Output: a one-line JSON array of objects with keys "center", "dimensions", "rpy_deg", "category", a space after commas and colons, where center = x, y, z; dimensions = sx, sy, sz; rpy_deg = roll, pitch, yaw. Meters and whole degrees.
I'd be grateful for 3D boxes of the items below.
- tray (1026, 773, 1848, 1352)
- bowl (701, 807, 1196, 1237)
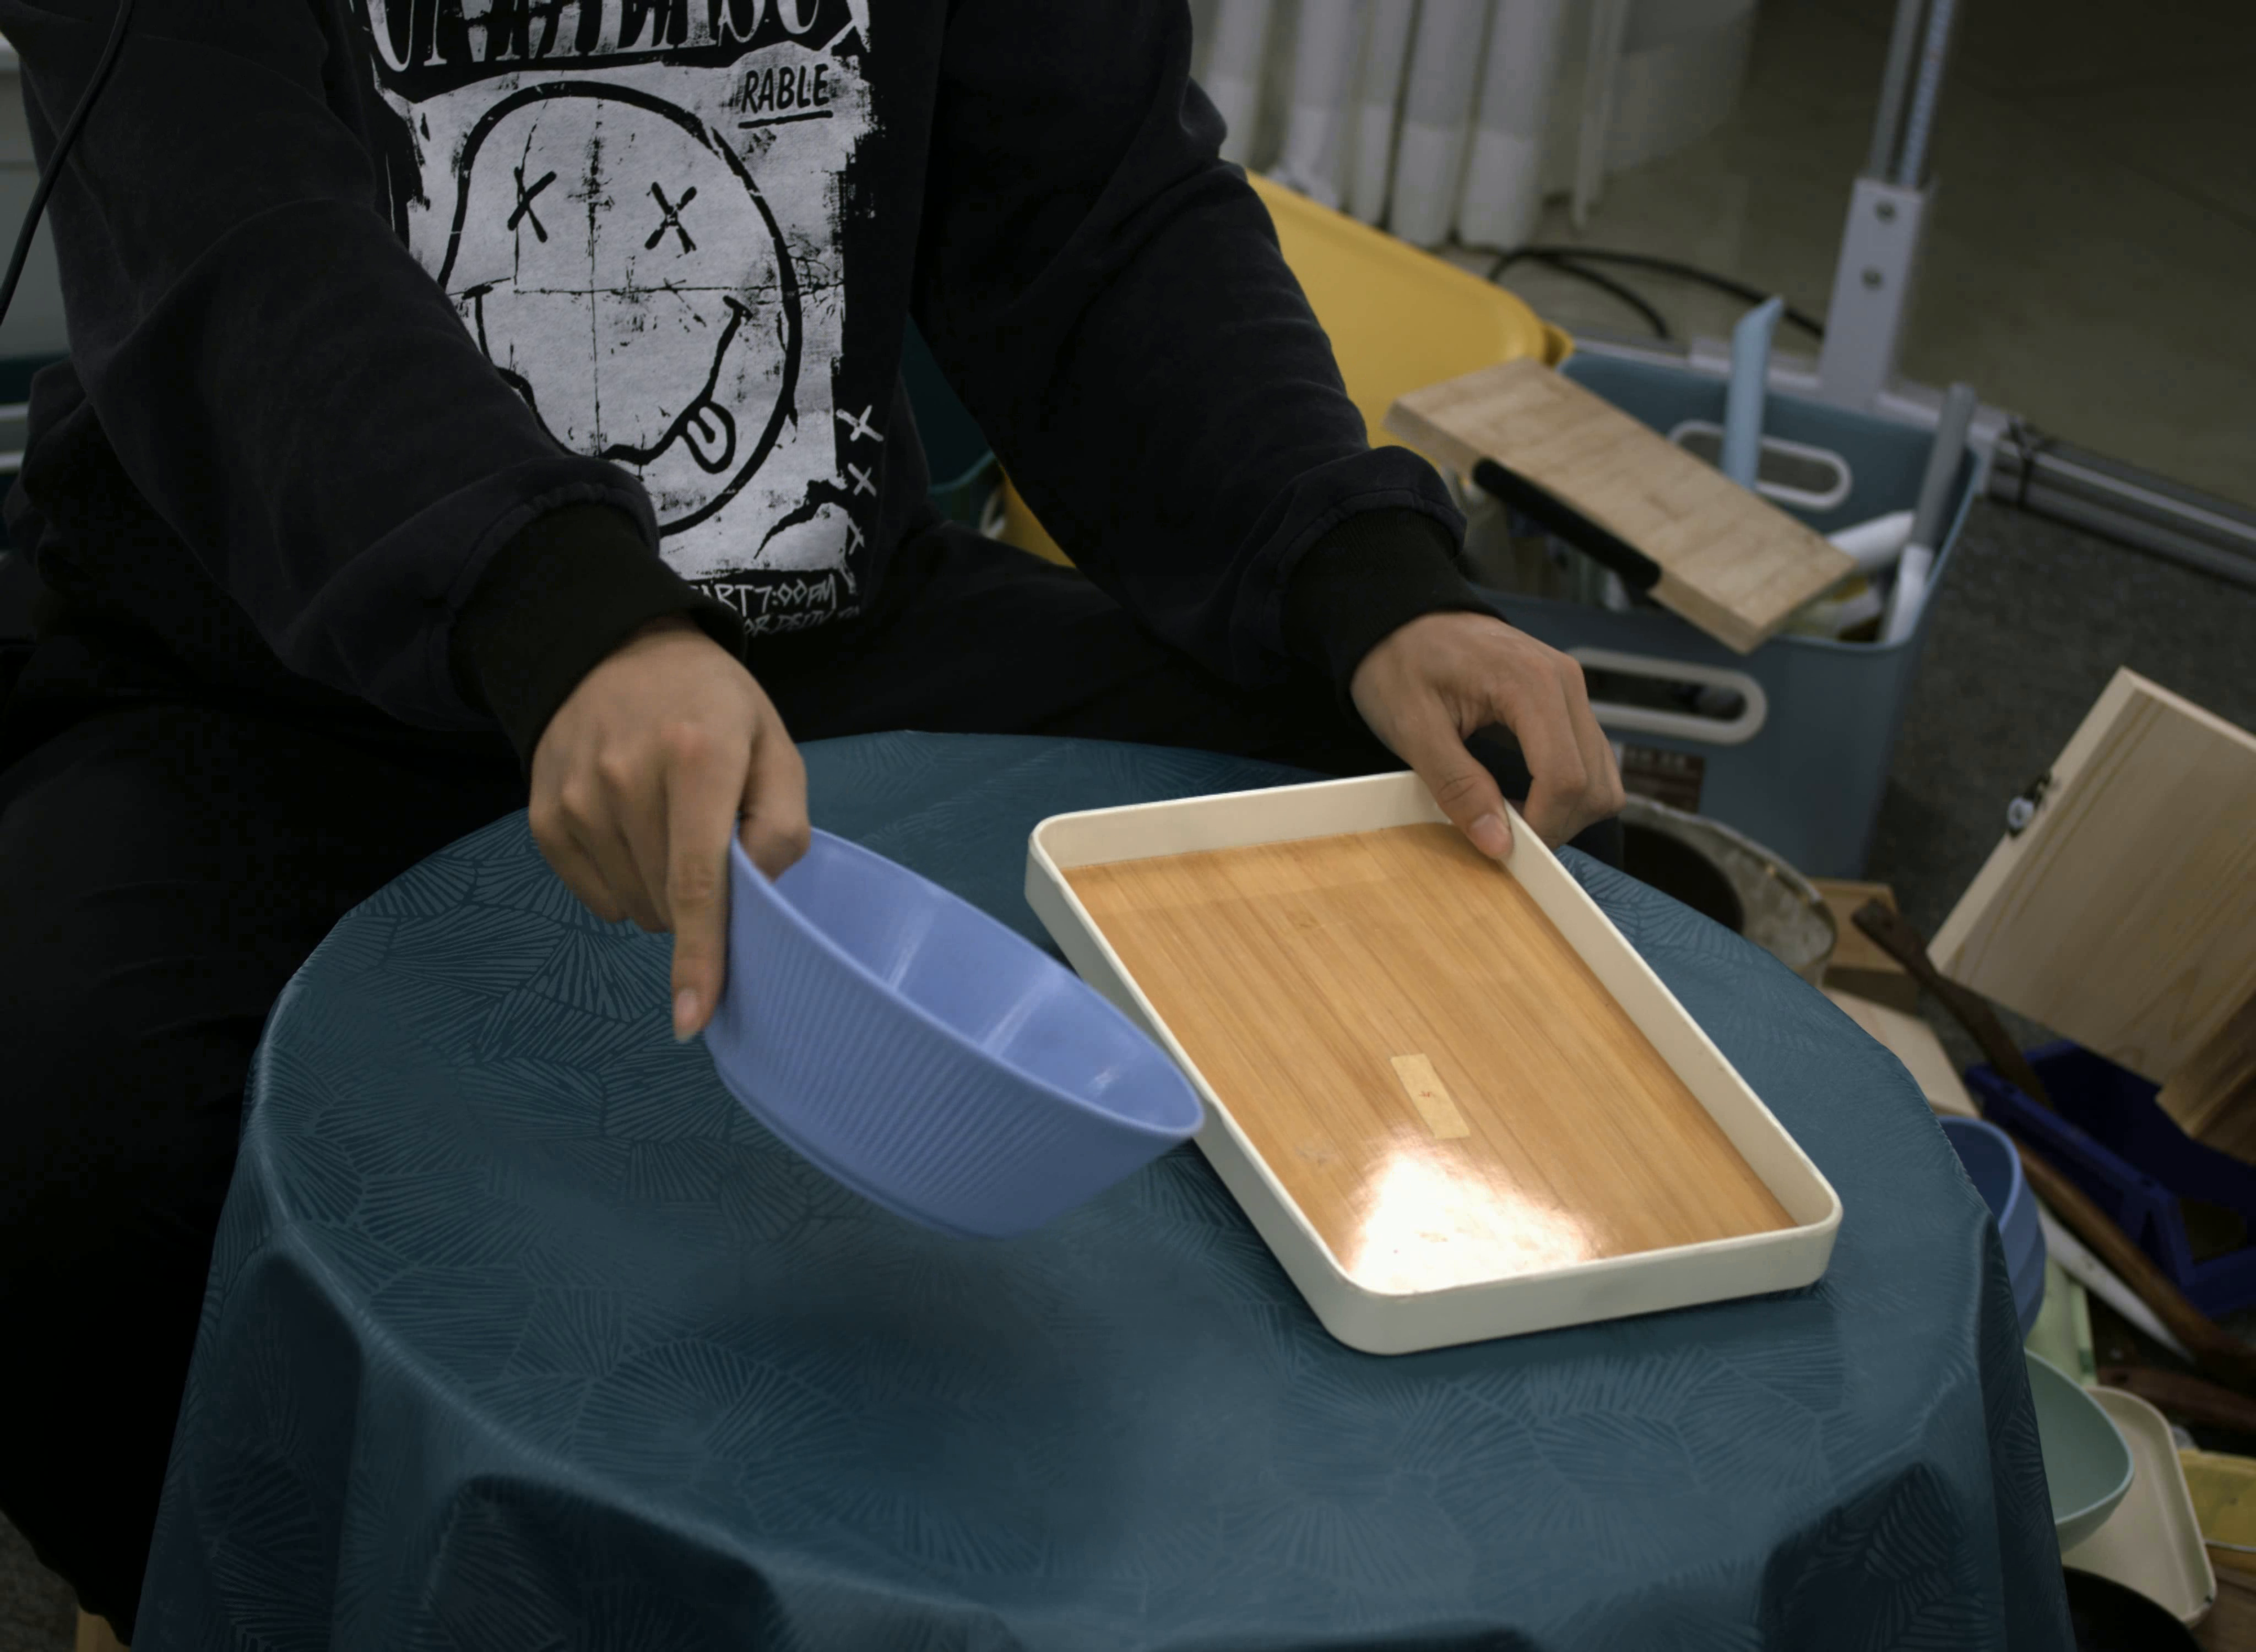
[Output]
[{"center": [0.102, 0.076, 1.860], "dimensions": [0.190, 0.027, 0.303], "rpy_deg": [-6, 34, -23], "category": "tray"}, {"center": [-0.068, 0.070, 1.671], "dimensions": [0.175, 0.070, 0.176], "rpy_deg": [34, 8, -6], "category": "bowl"}]
